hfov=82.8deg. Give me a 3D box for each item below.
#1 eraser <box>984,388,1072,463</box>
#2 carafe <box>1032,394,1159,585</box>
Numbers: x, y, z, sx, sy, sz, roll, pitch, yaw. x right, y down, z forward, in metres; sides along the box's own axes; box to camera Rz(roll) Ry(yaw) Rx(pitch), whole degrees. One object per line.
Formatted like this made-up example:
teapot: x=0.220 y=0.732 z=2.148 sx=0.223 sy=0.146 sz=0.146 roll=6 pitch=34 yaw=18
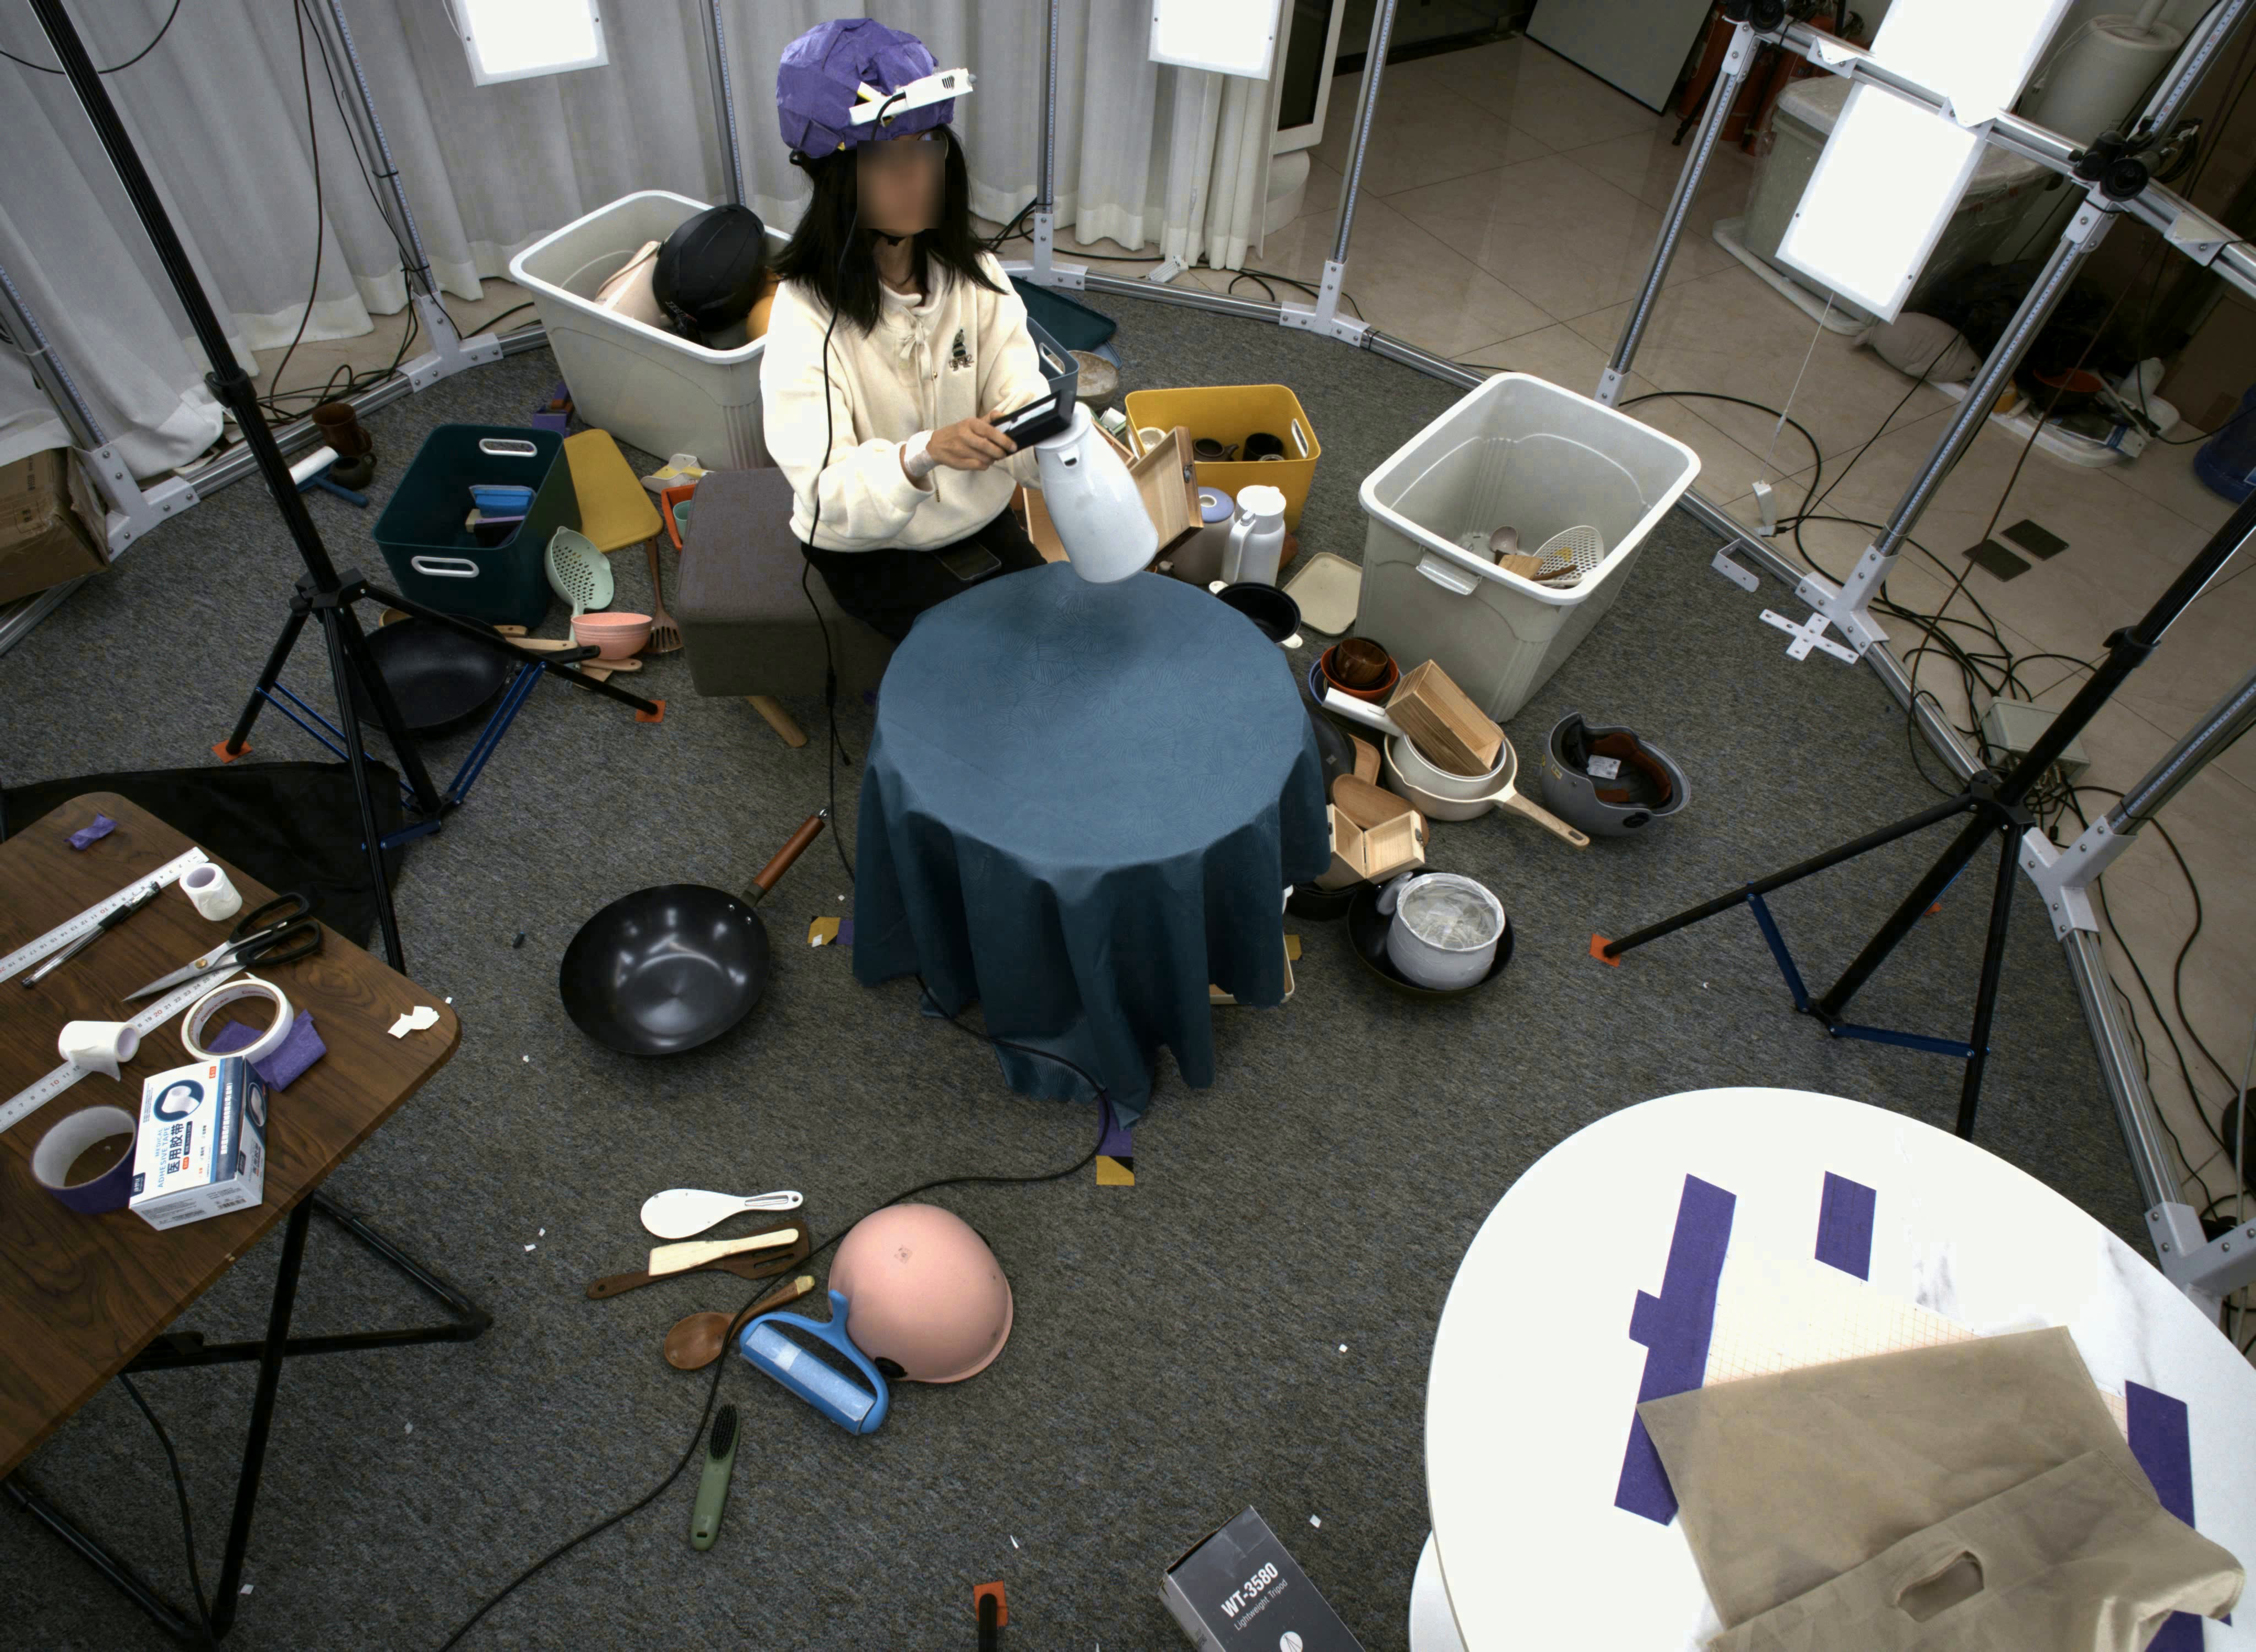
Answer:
eraser: x=-0.131 y=-0.526 z=1.701 sx=0.125 sy=0.030 sz=0.055 roll=-17 pitch=51 yaw=31
carafe: x=-0.060 y=-0.482 z=1.808 sx=0.132 sy=0.243 sz=0.172 roll=-22 pitch=49 yaw=7
